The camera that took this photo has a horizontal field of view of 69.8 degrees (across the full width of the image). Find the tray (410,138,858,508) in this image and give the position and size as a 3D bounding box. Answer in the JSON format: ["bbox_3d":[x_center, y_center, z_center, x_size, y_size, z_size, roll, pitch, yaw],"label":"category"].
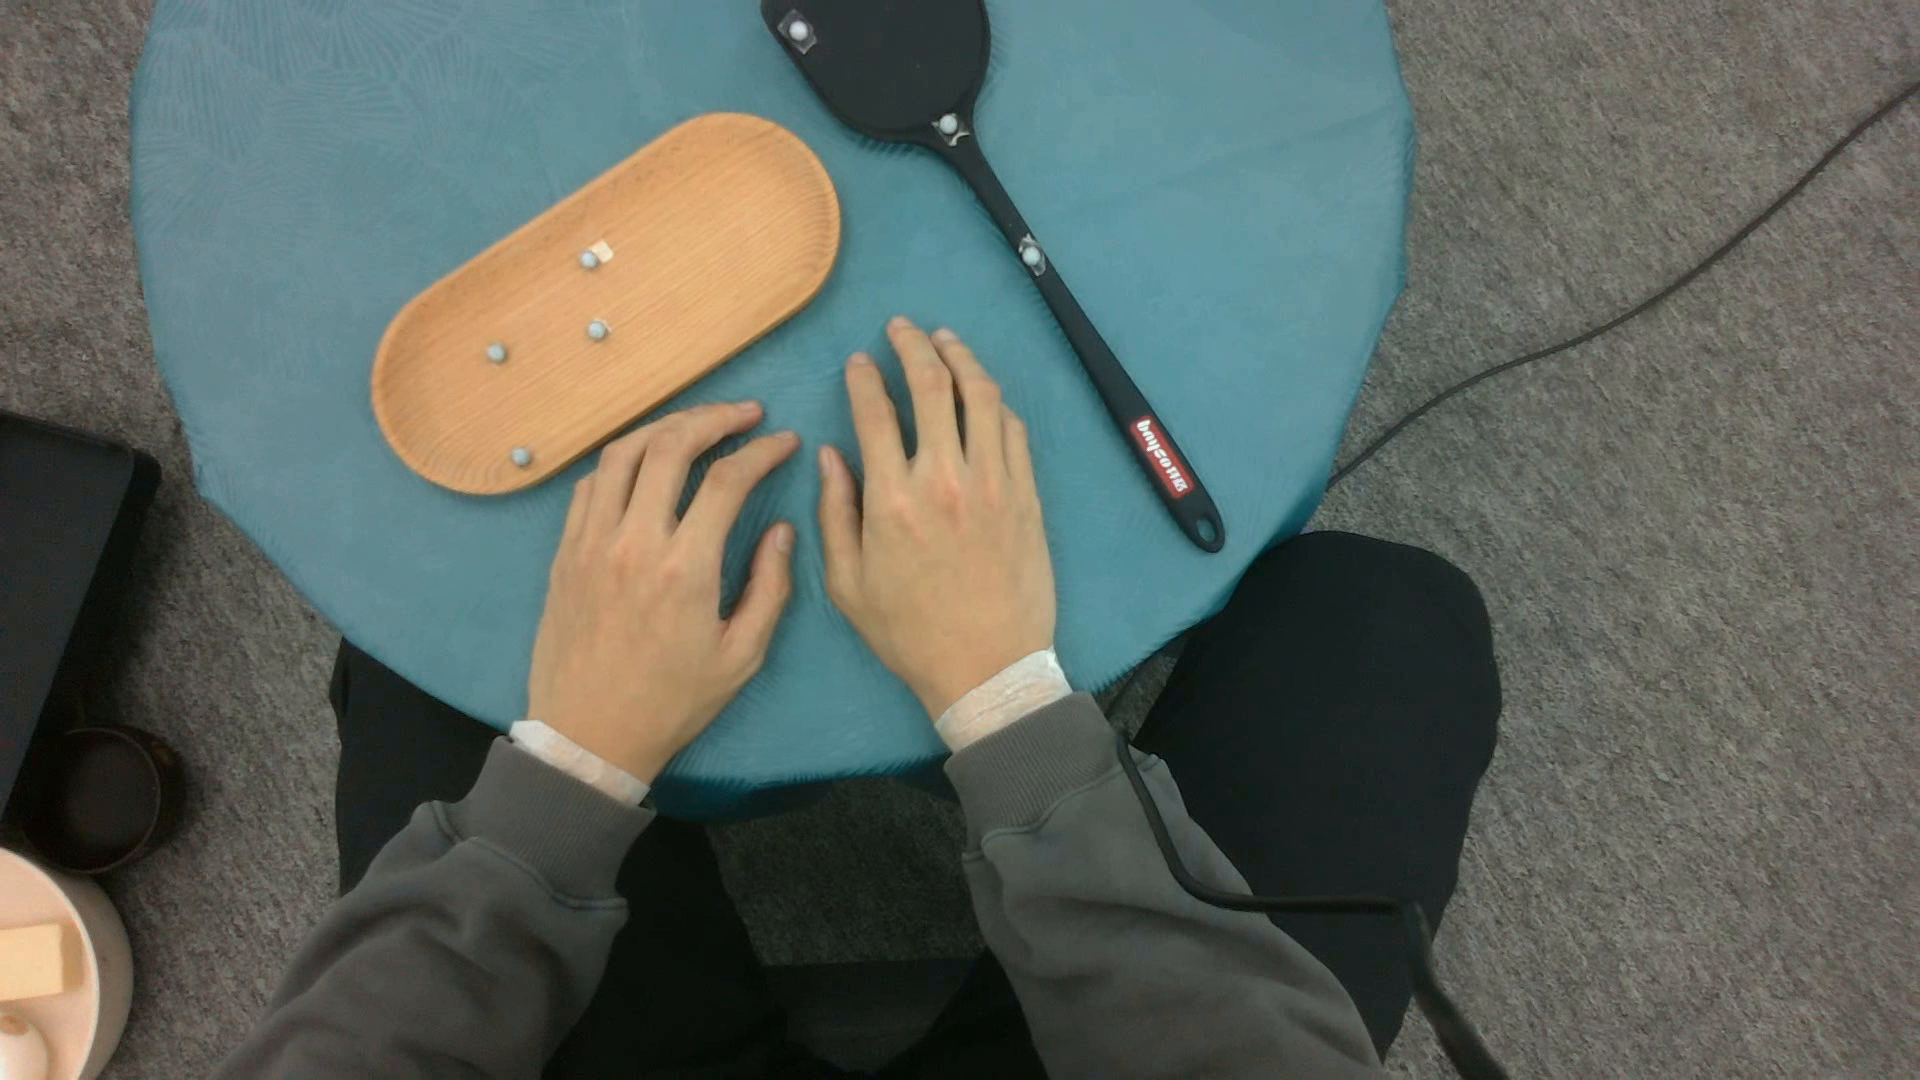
[{"bbox_3d":[-0.152,-0.102,0.650,0.231,0.020,0.102,-35,86,-5],"label":"tray"}]

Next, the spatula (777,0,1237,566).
[{"bbox_3d":[0.038,-0.126,0.645,0.100,0.040,0.326,-33,85,-3],"label":"spatula"}]
